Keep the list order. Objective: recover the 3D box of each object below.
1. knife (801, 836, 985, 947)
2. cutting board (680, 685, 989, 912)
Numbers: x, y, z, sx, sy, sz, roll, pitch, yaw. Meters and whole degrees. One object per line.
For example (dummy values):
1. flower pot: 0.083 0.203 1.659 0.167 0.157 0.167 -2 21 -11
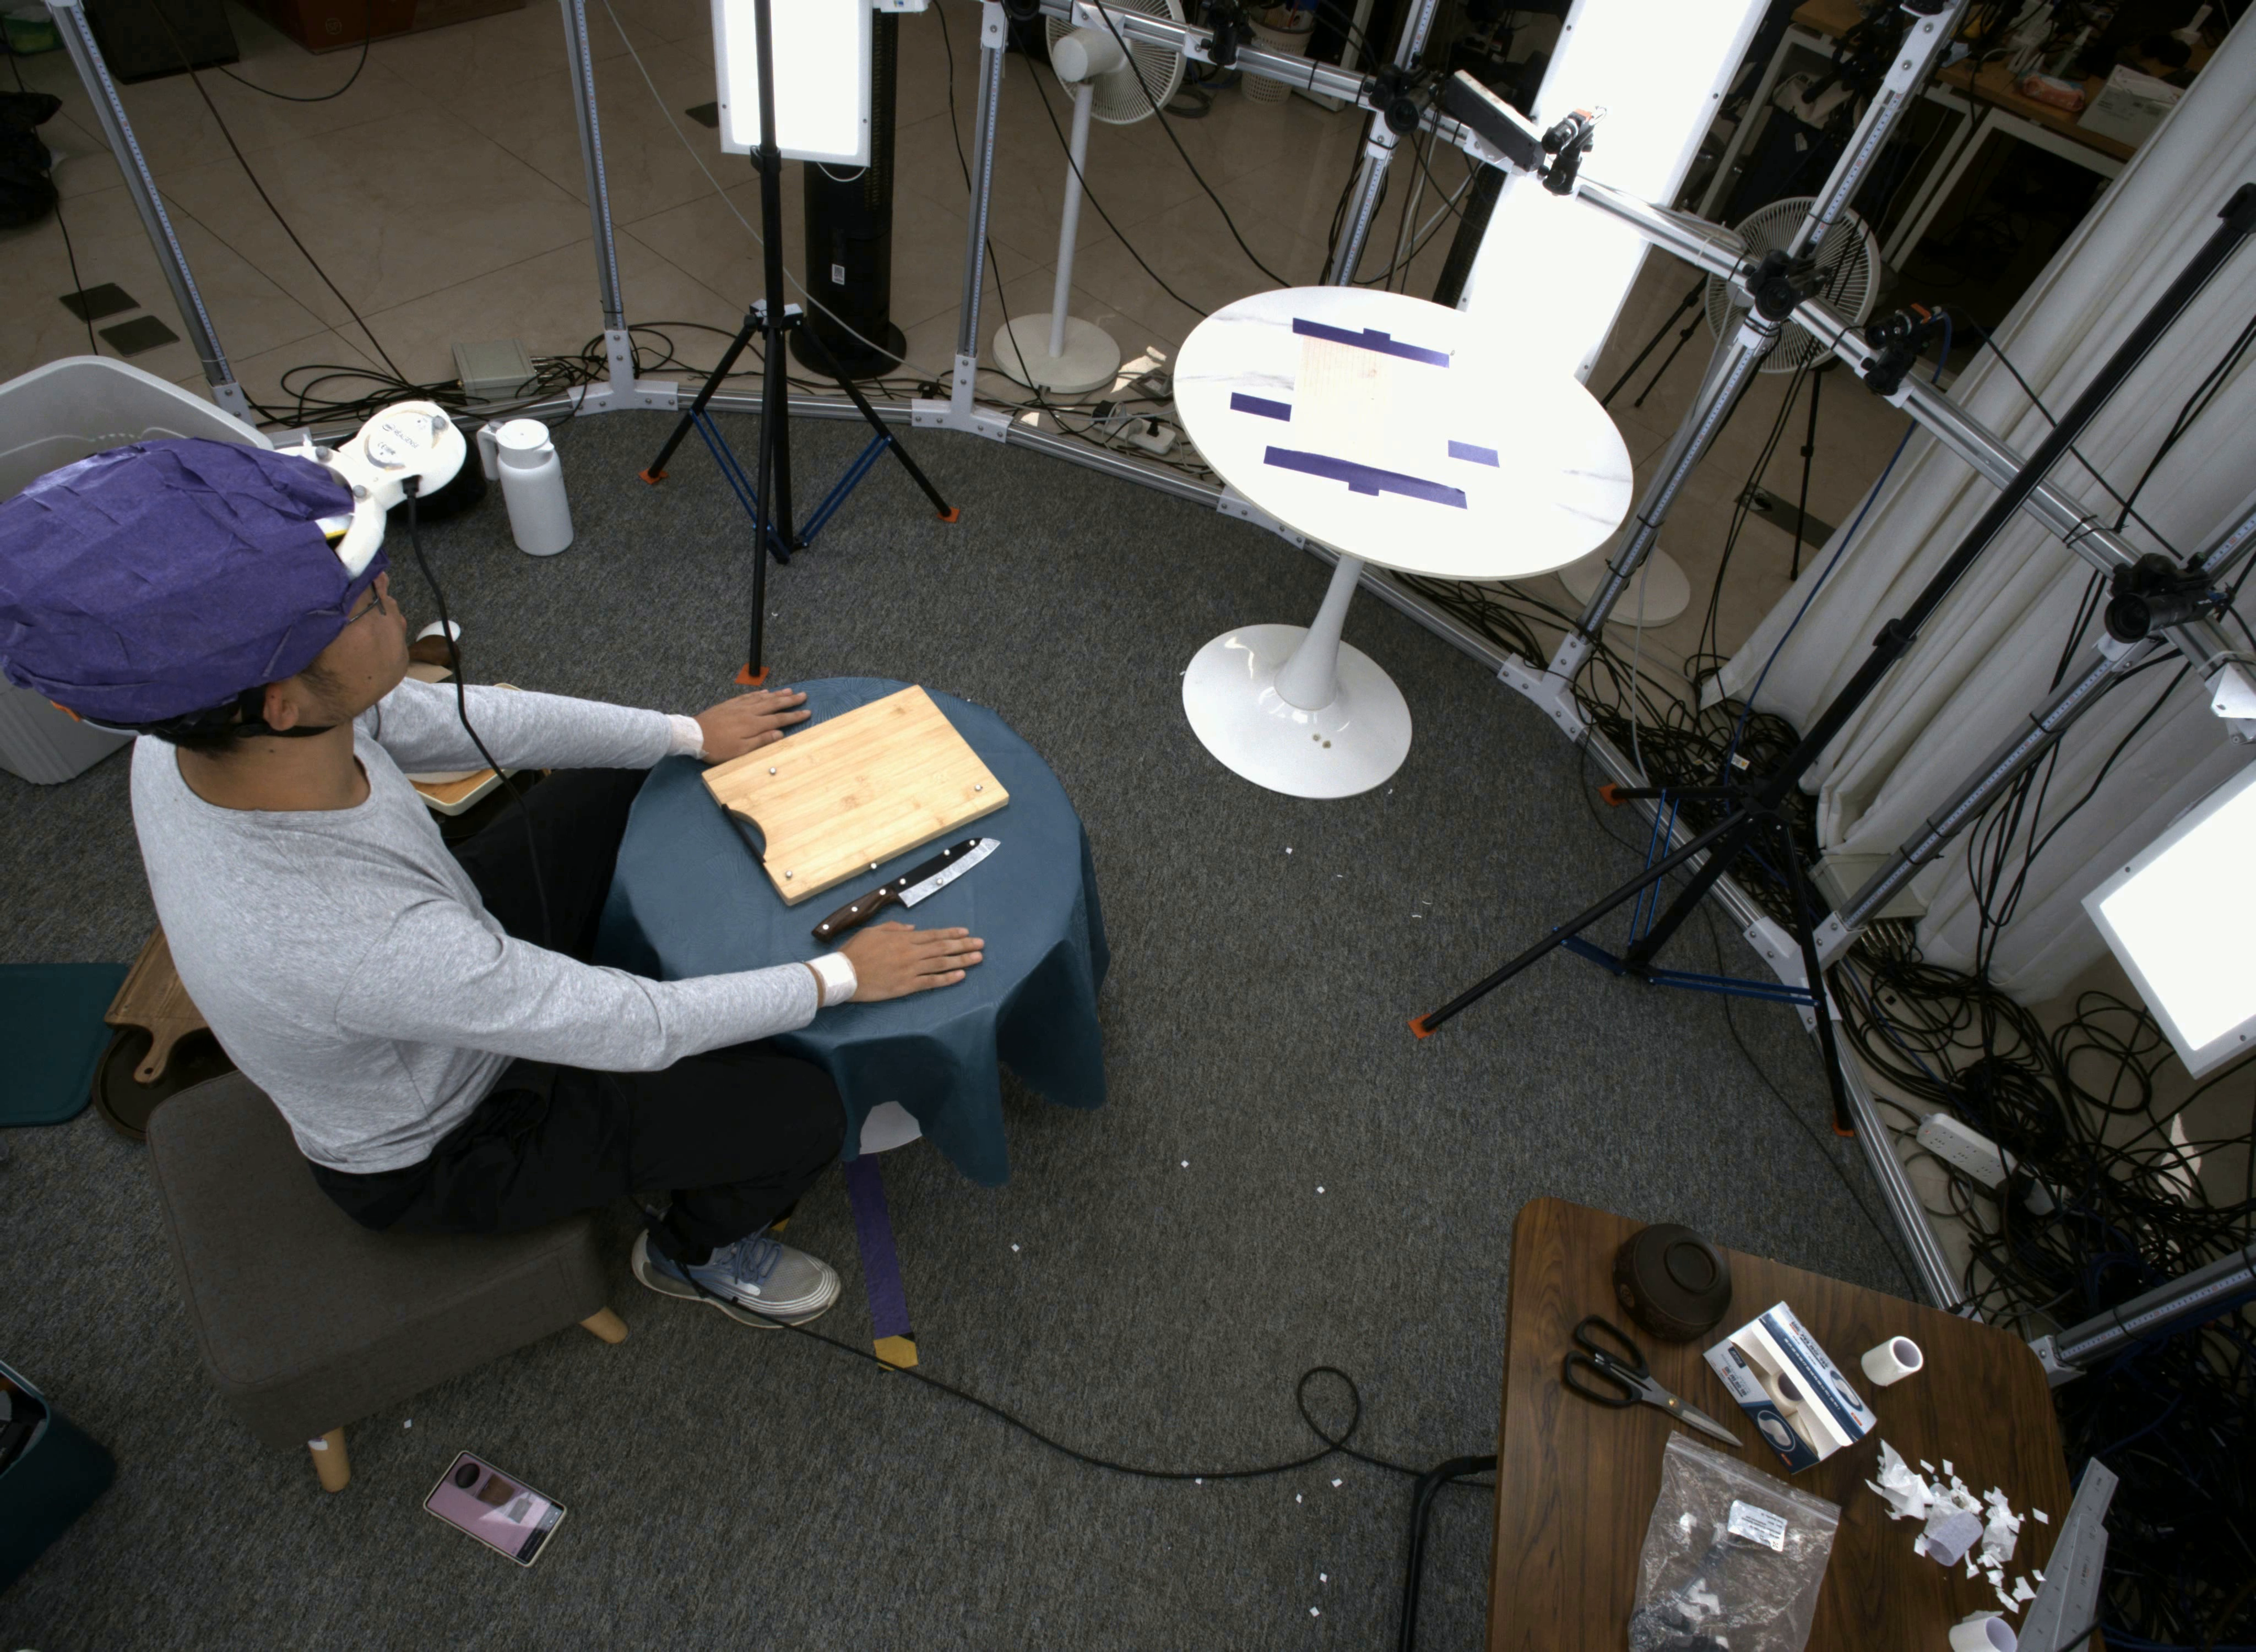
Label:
1. knife: -0.301 0.079 1.699 0.290 0.020 0.049 -31 71 -34
2. cutting board: -0.394 -0.047 1.768 0.350 0.024 0.244 -29 65 -30
